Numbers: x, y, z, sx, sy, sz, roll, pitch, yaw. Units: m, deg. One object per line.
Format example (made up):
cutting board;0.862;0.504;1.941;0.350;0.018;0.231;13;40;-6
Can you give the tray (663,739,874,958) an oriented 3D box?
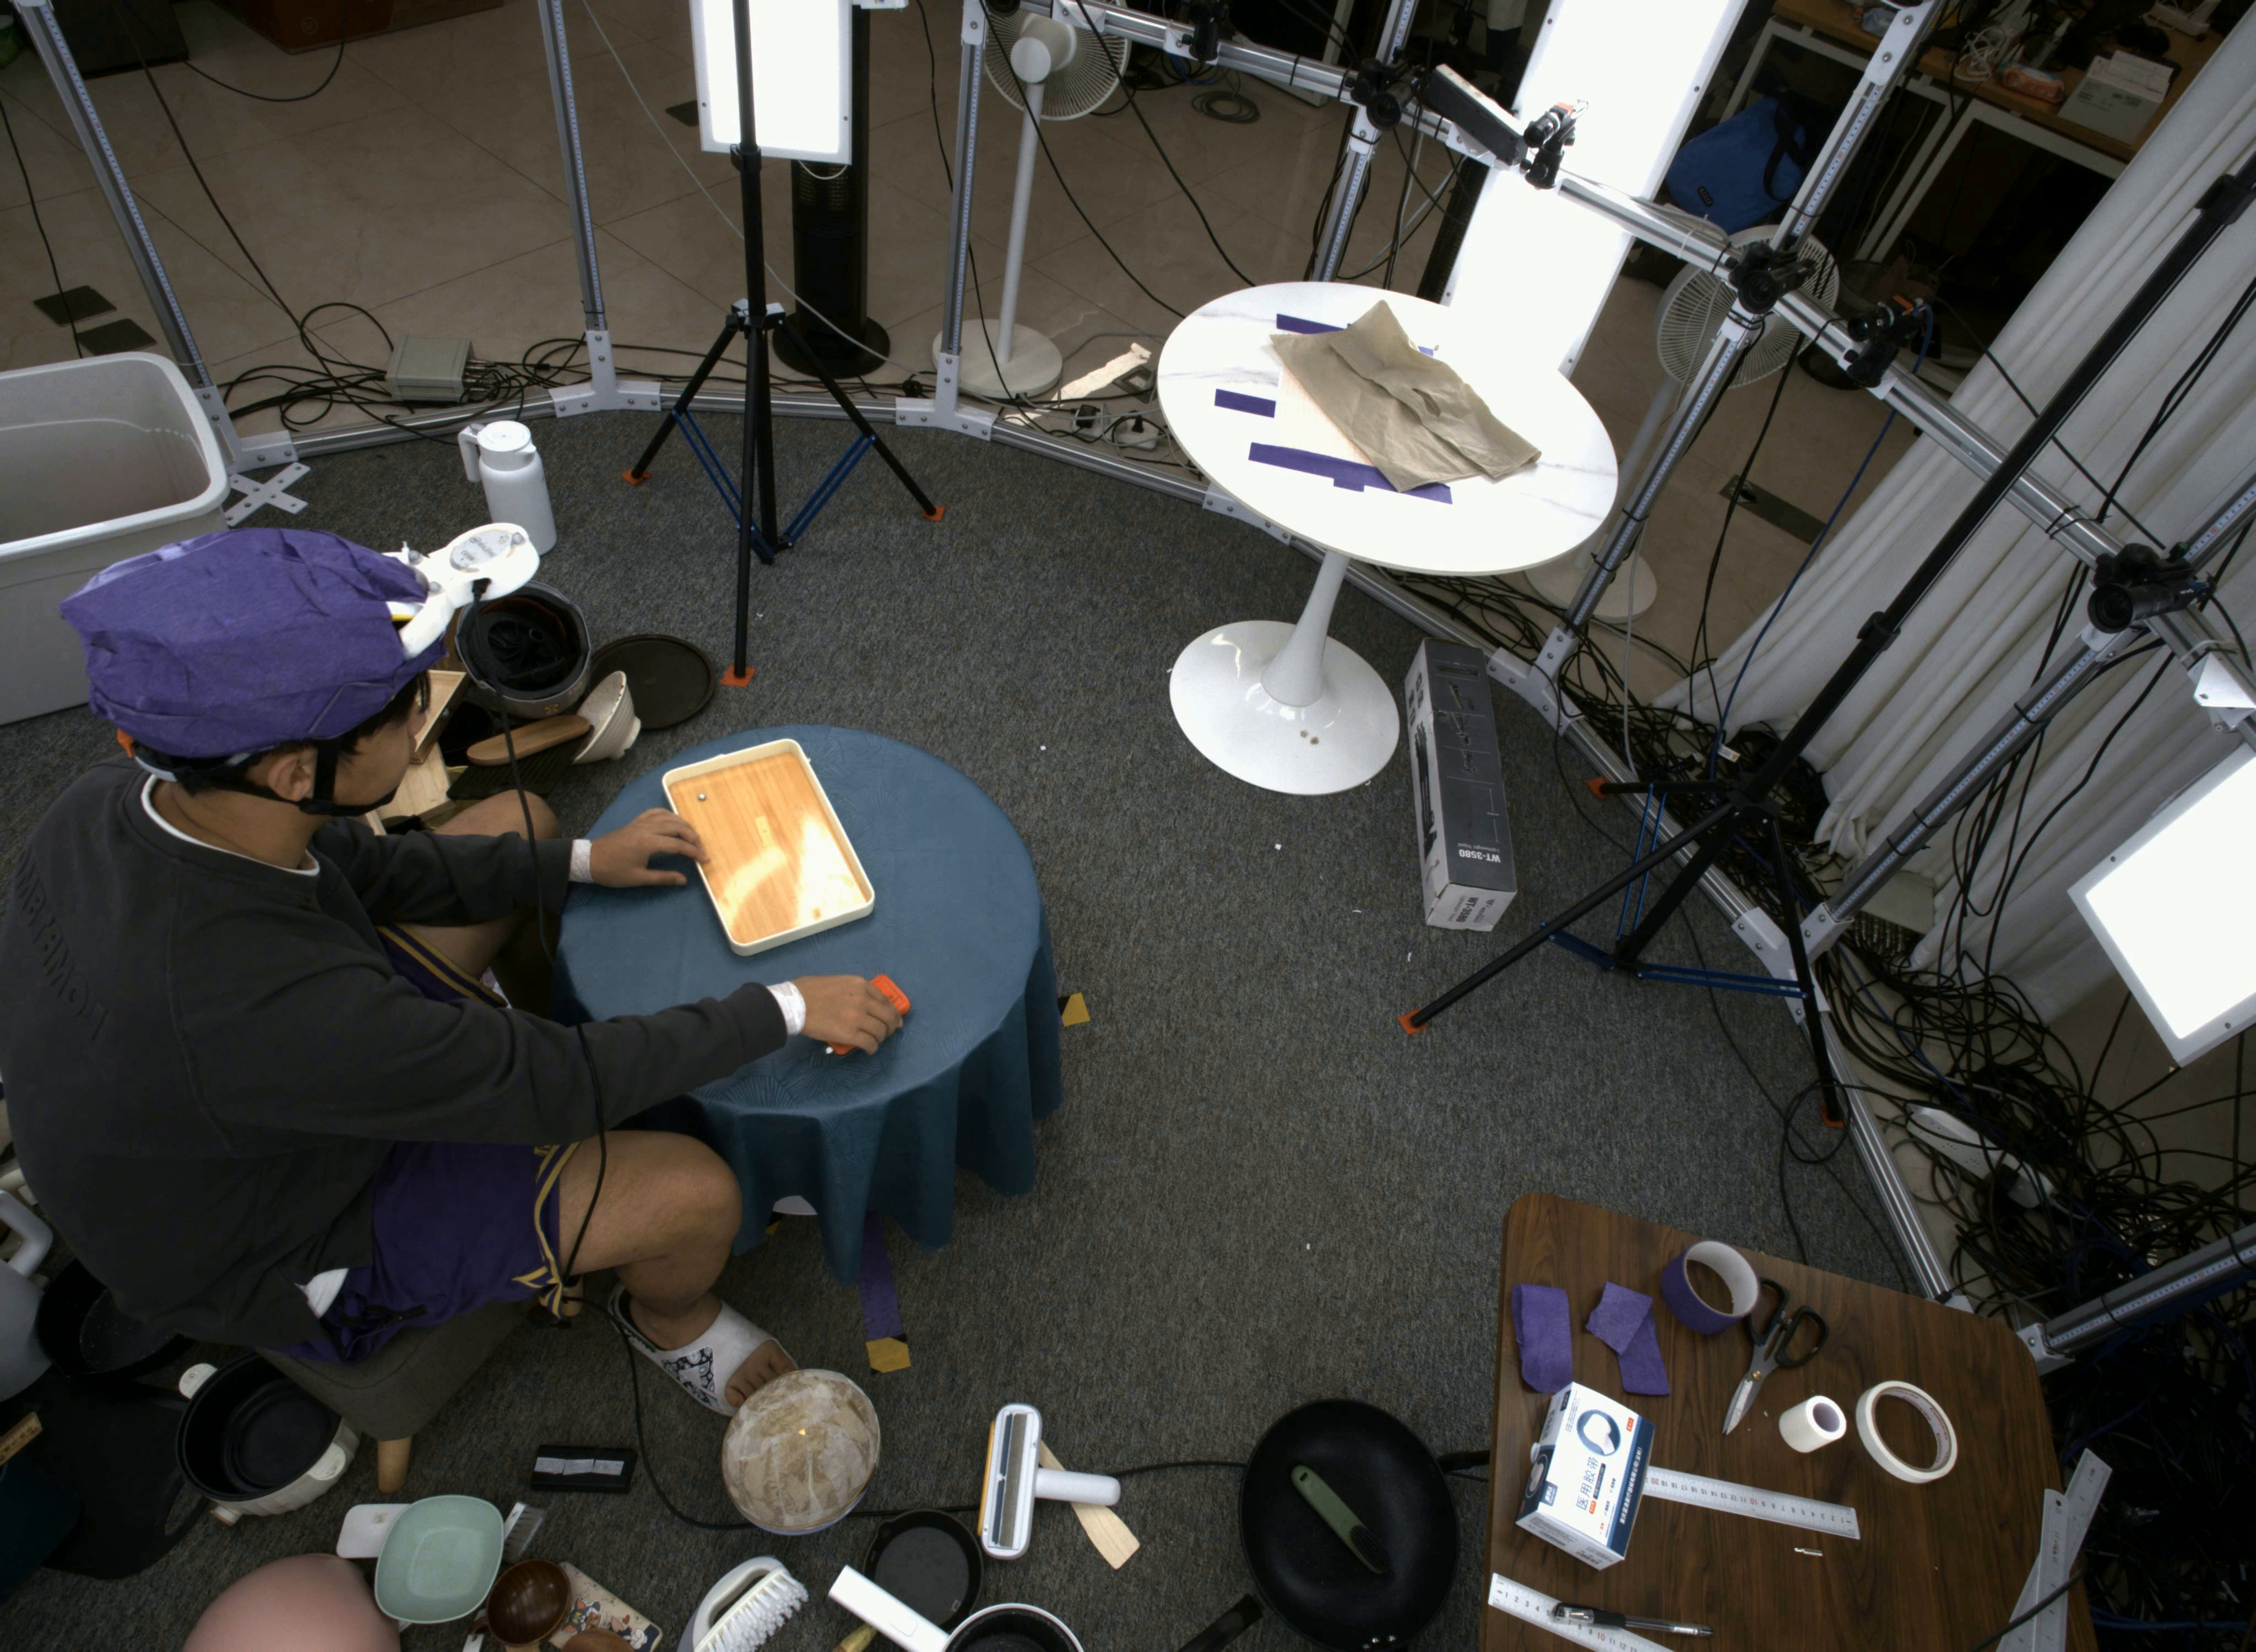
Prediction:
tray;-0.471;0.020;1.684;0.192;0.028;0.293;-19;60;-26

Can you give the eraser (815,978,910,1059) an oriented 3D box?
eraser;-0.320;0.229;1.569;0.108;0.023;0.057;-30;65;-29
